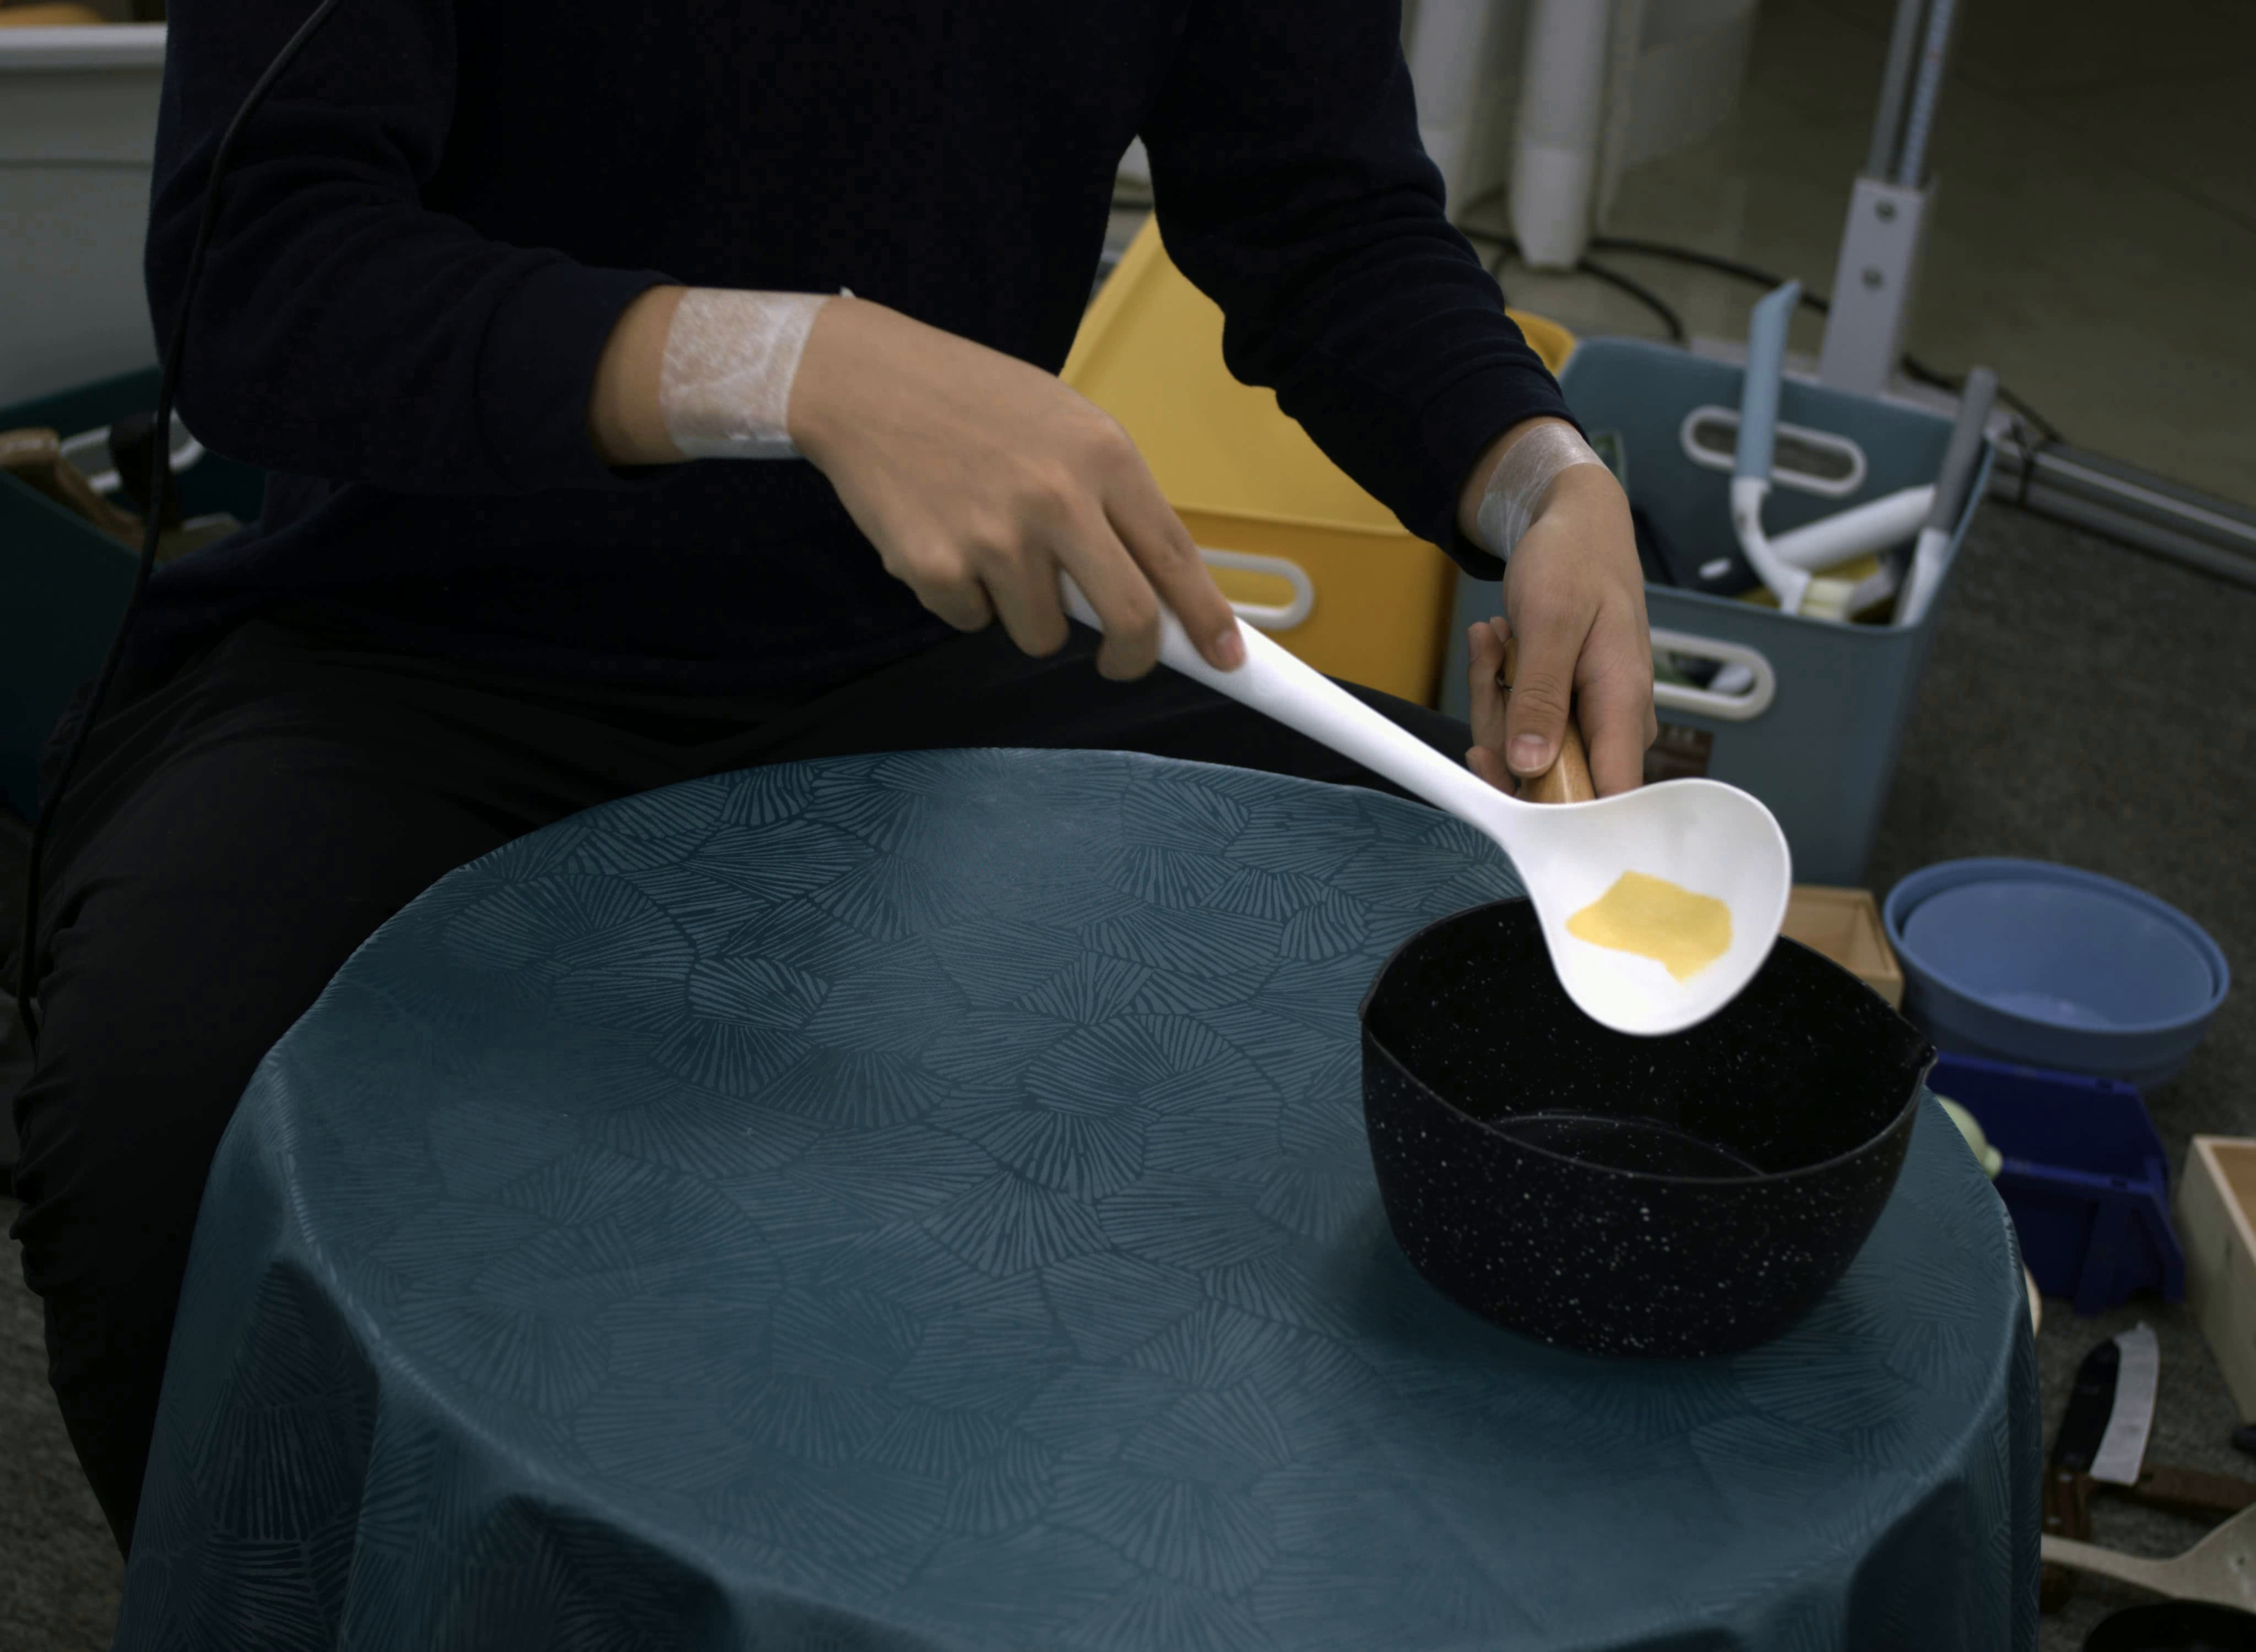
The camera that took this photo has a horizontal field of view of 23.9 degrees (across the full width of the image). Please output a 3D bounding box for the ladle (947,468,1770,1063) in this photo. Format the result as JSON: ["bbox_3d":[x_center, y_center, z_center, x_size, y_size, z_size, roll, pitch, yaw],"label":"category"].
[{"bbox_3d":[0.072,-0.027,1.731,0.292,0.090,0.070,32,2,-6],"label":"ladle"}]

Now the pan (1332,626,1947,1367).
[{"bbox_3d":[0.159,0.055,1.848,0.206,0.108,0.345,1,30,-8],"label":"pan"}]
